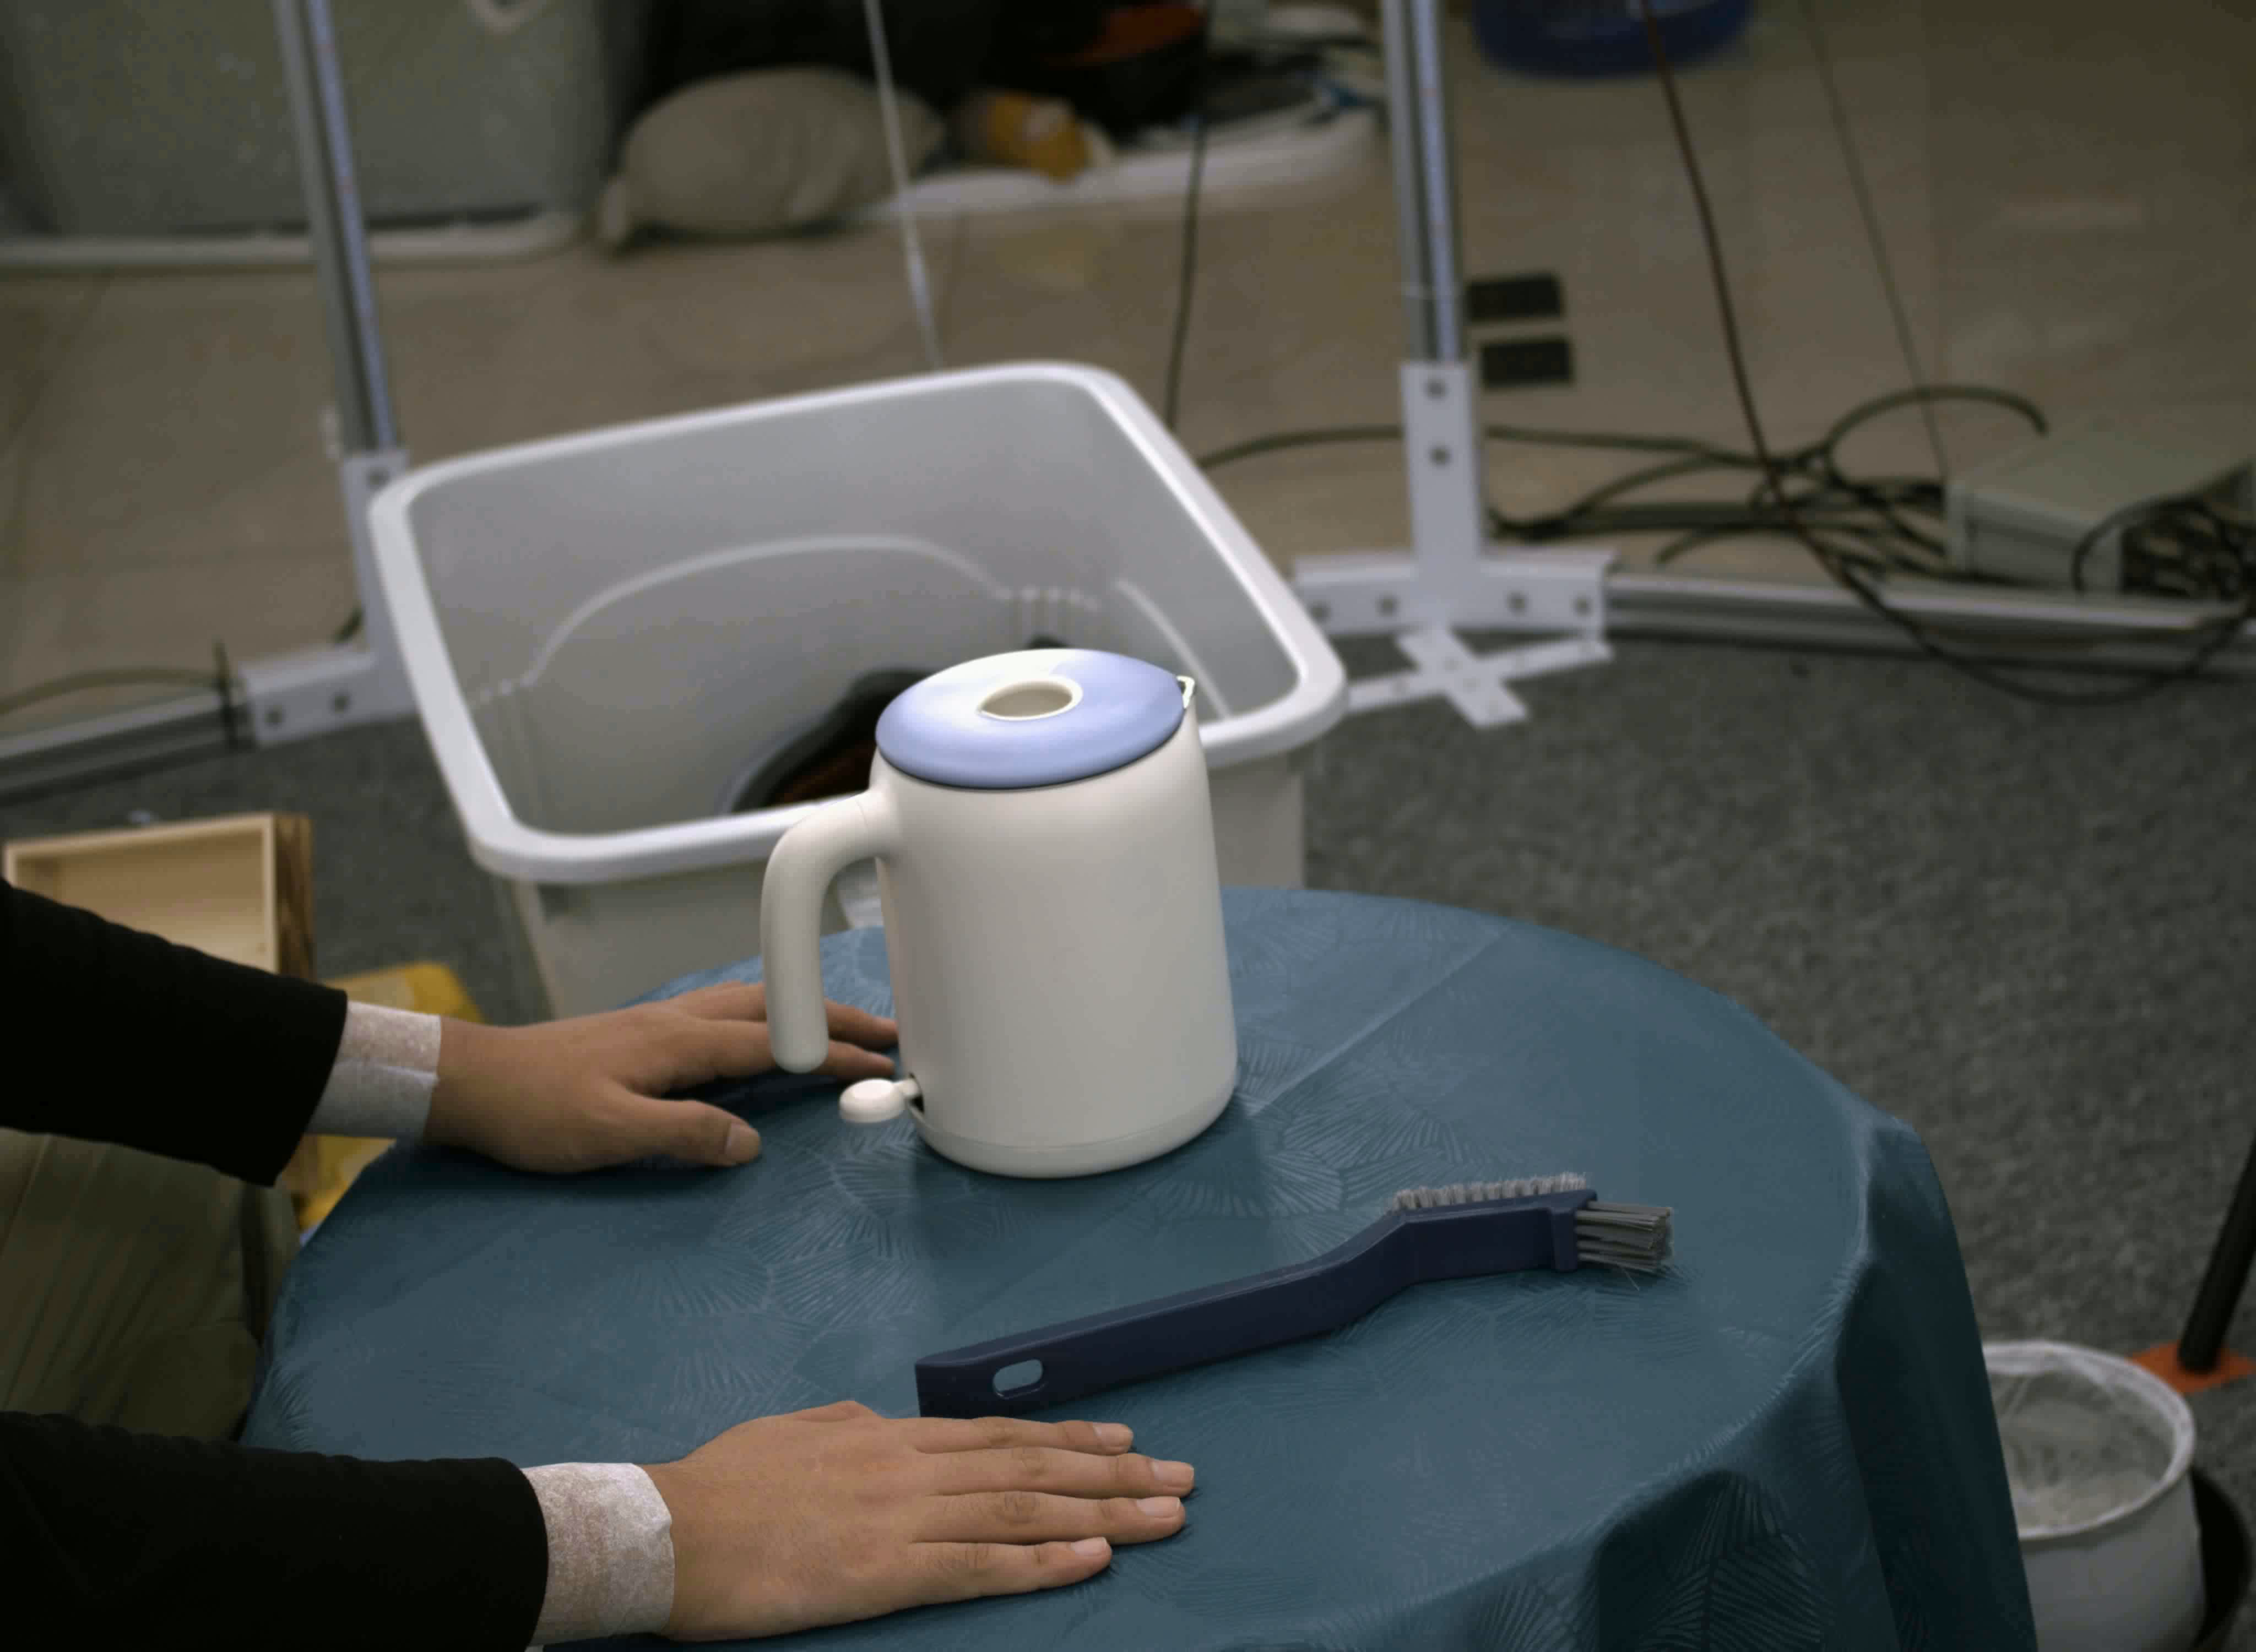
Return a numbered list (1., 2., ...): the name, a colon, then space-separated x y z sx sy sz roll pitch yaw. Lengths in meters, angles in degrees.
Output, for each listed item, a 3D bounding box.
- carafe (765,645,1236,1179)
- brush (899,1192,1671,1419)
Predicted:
1. carafe: -0.052 0.039 2.169 0.190 0.185 0.130 -18 27 -20
2. brush: 0.055 0.173 2.025 0.272 0.034 0.094 -16 30 -21
